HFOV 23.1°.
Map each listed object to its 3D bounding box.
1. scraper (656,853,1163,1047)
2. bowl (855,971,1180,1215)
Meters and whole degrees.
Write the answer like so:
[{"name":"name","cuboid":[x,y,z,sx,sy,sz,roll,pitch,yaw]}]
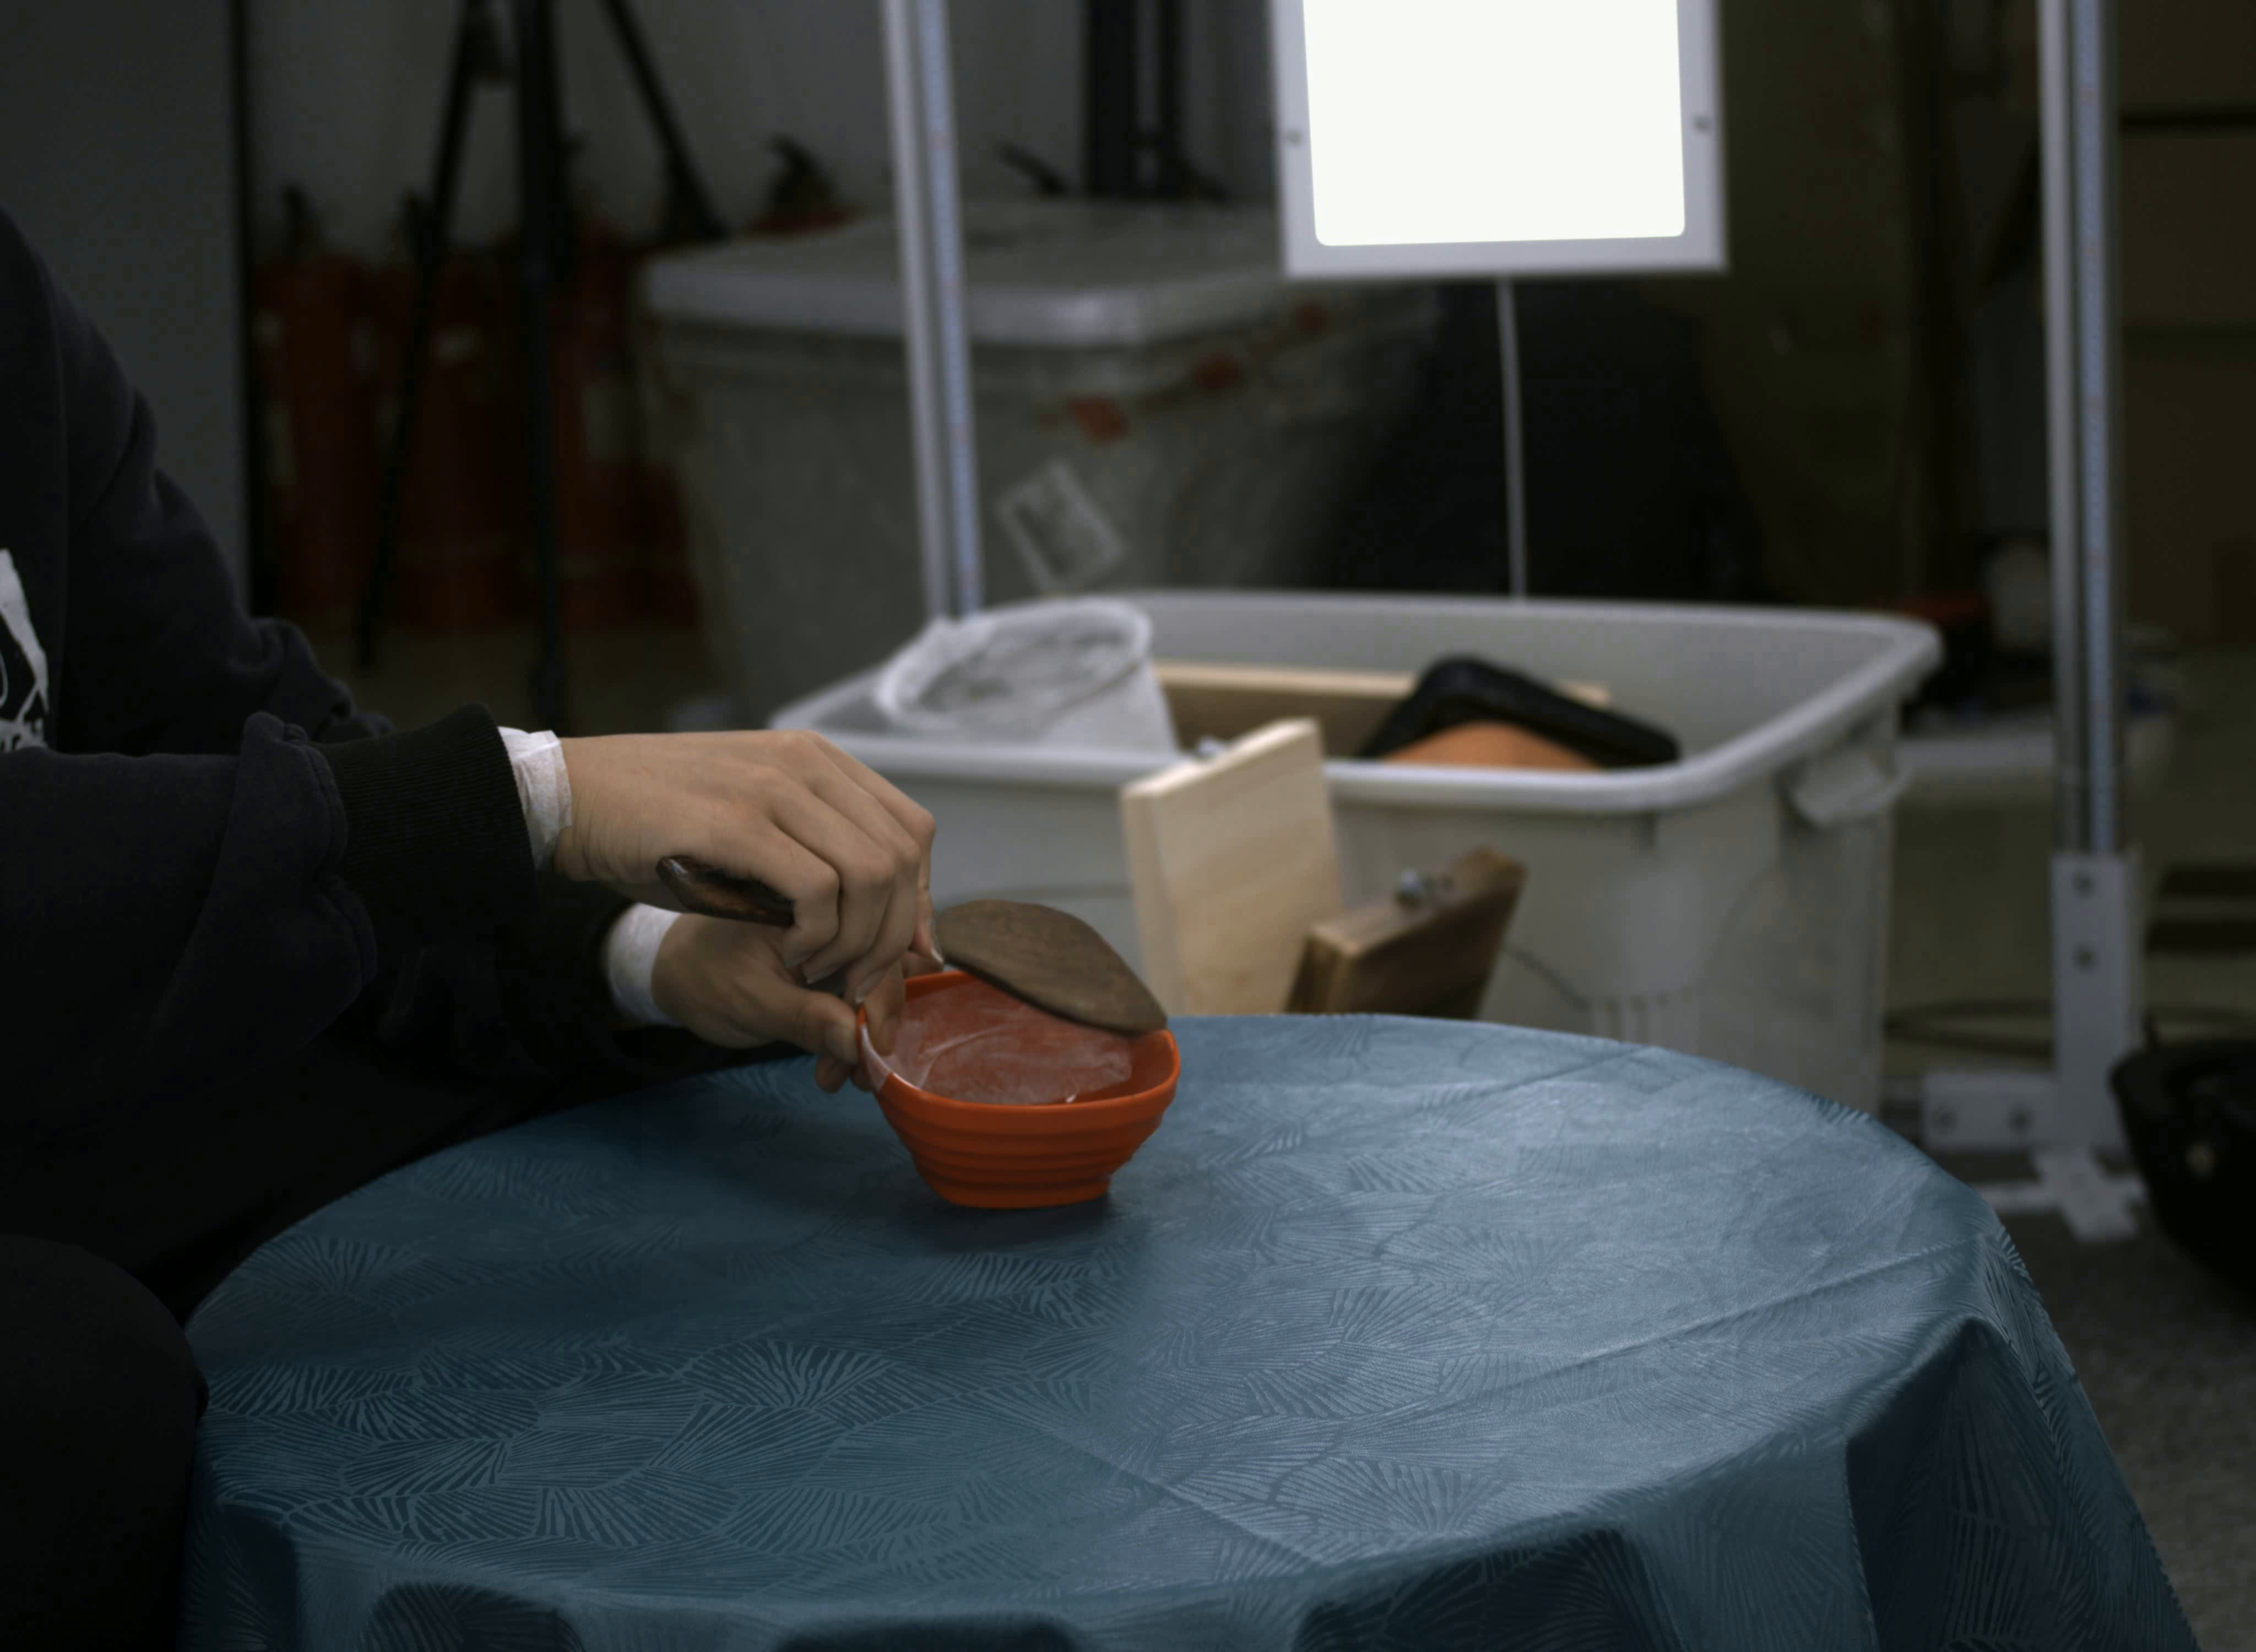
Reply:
[{"name":"scraper","cuboid":[-0.075,0.036,1.855,0.206,0.011,0.076,15,28,-42]},{"name":"bowl","cuboid":[-0.040,0.096,1.904,0.118,0.052,0.118,3,25,-3]}]
